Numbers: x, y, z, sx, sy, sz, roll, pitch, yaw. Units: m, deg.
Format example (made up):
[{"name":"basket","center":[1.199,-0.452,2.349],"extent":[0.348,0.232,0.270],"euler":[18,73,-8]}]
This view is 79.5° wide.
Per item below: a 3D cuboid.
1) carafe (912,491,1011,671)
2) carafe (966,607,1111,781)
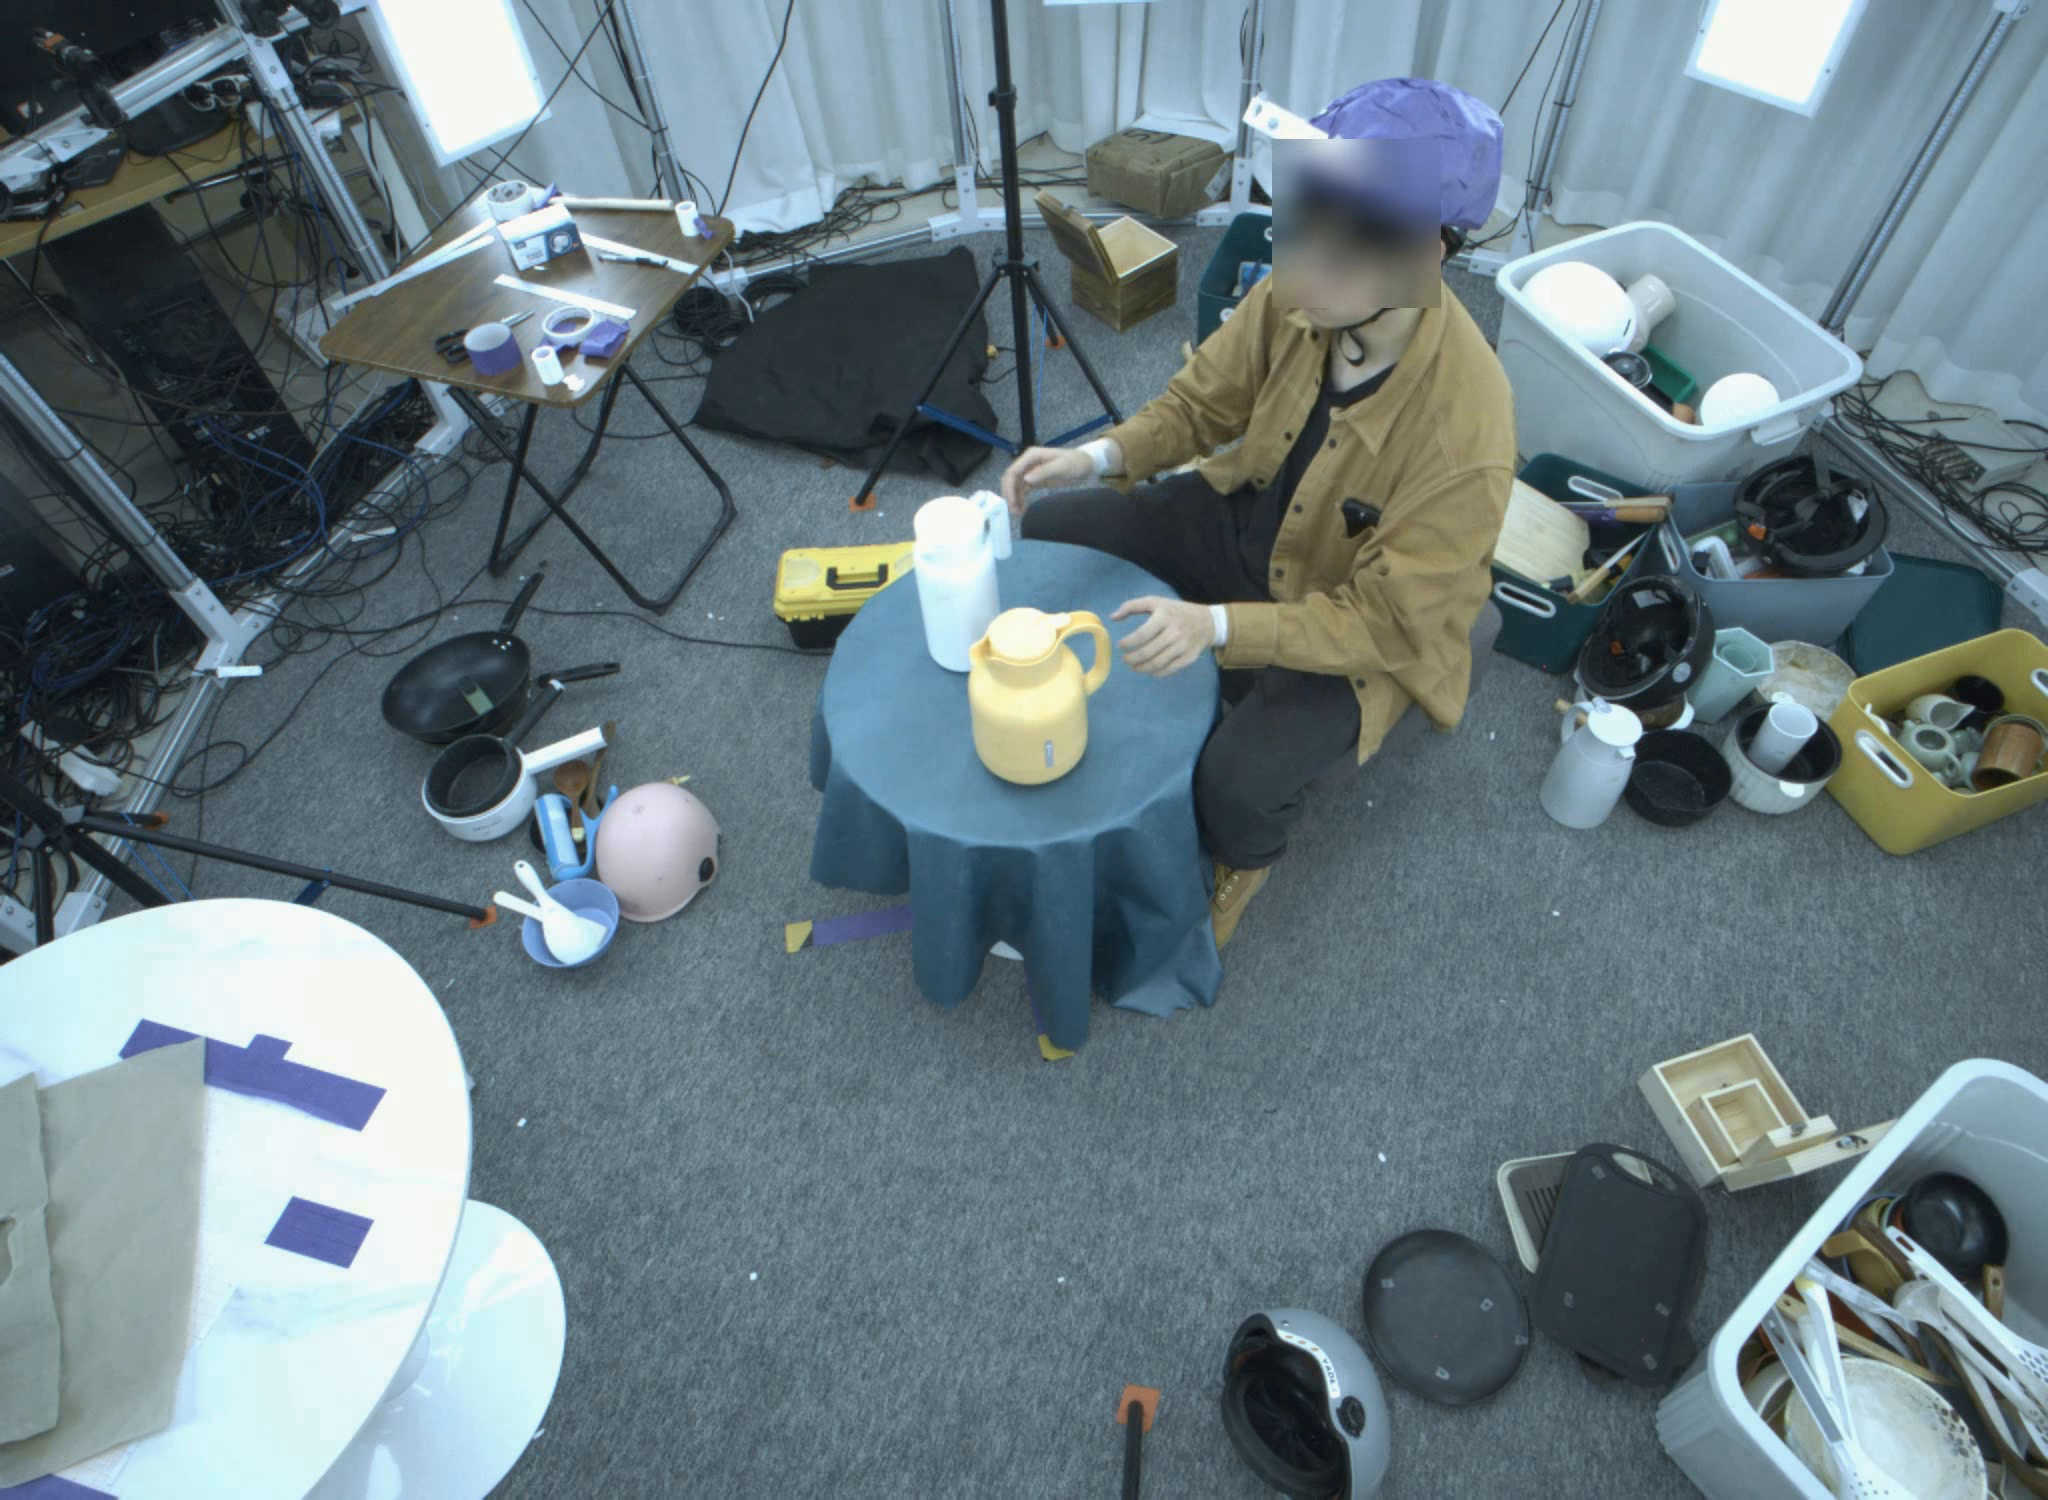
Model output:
[{"name":"carafe","center":[-0.089,-0.253,1.801],"extent":[0.121,0.272,0.174],"euler":[32,62,26]},{"name":"carafe","center":[0.022,-0.087,1.682],"extent":[0.203,0.263,0.161],"euler":[-19,58,-8]}]
